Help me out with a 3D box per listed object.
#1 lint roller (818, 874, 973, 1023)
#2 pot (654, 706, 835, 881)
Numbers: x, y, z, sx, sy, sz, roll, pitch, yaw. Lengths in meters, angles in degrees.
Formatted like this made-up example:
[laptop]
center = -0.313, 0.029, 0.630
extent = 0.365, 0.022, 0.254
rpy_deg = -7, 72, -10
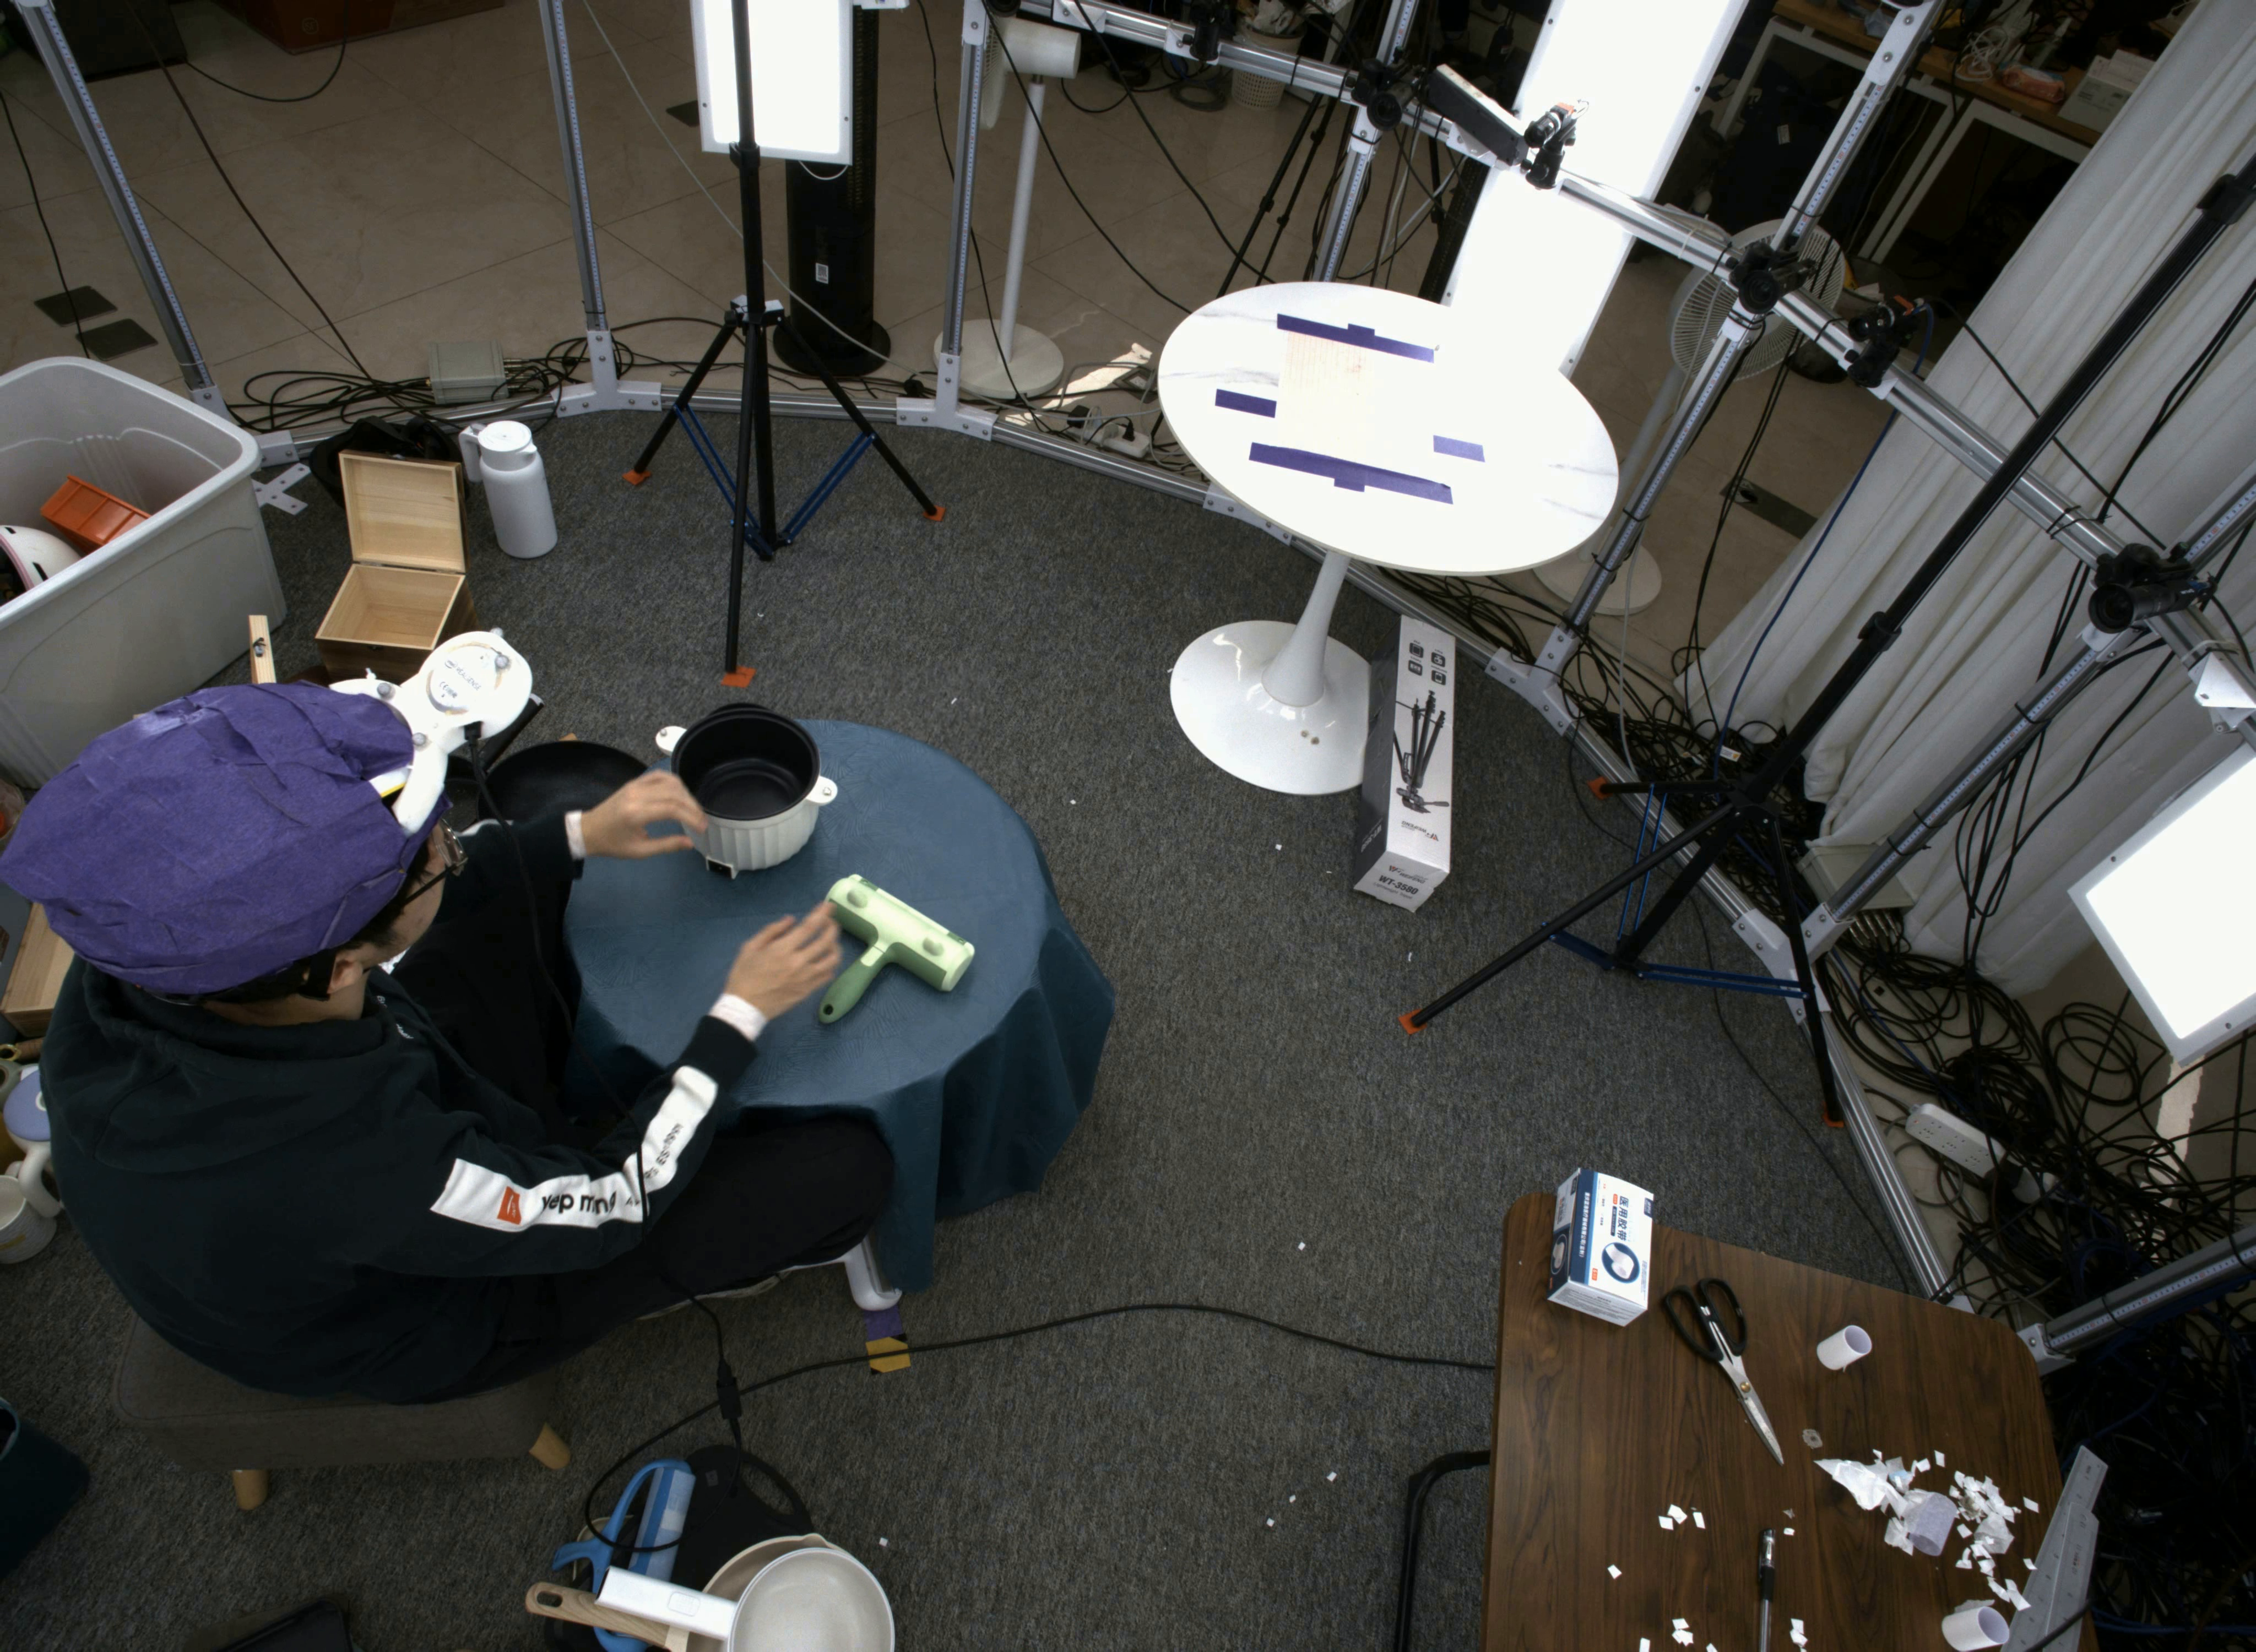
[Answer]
[lint roller]
center = -0.317, 0.158, 1.592
extent = 0.195, 0.084, 0.183
rpy_deg = 31, 47, 9
[pot]
center = -0.488, -0.045, 1.657
extent = 0.238, 0.145, 0.188
rpy_deg = 19, 54, -1
